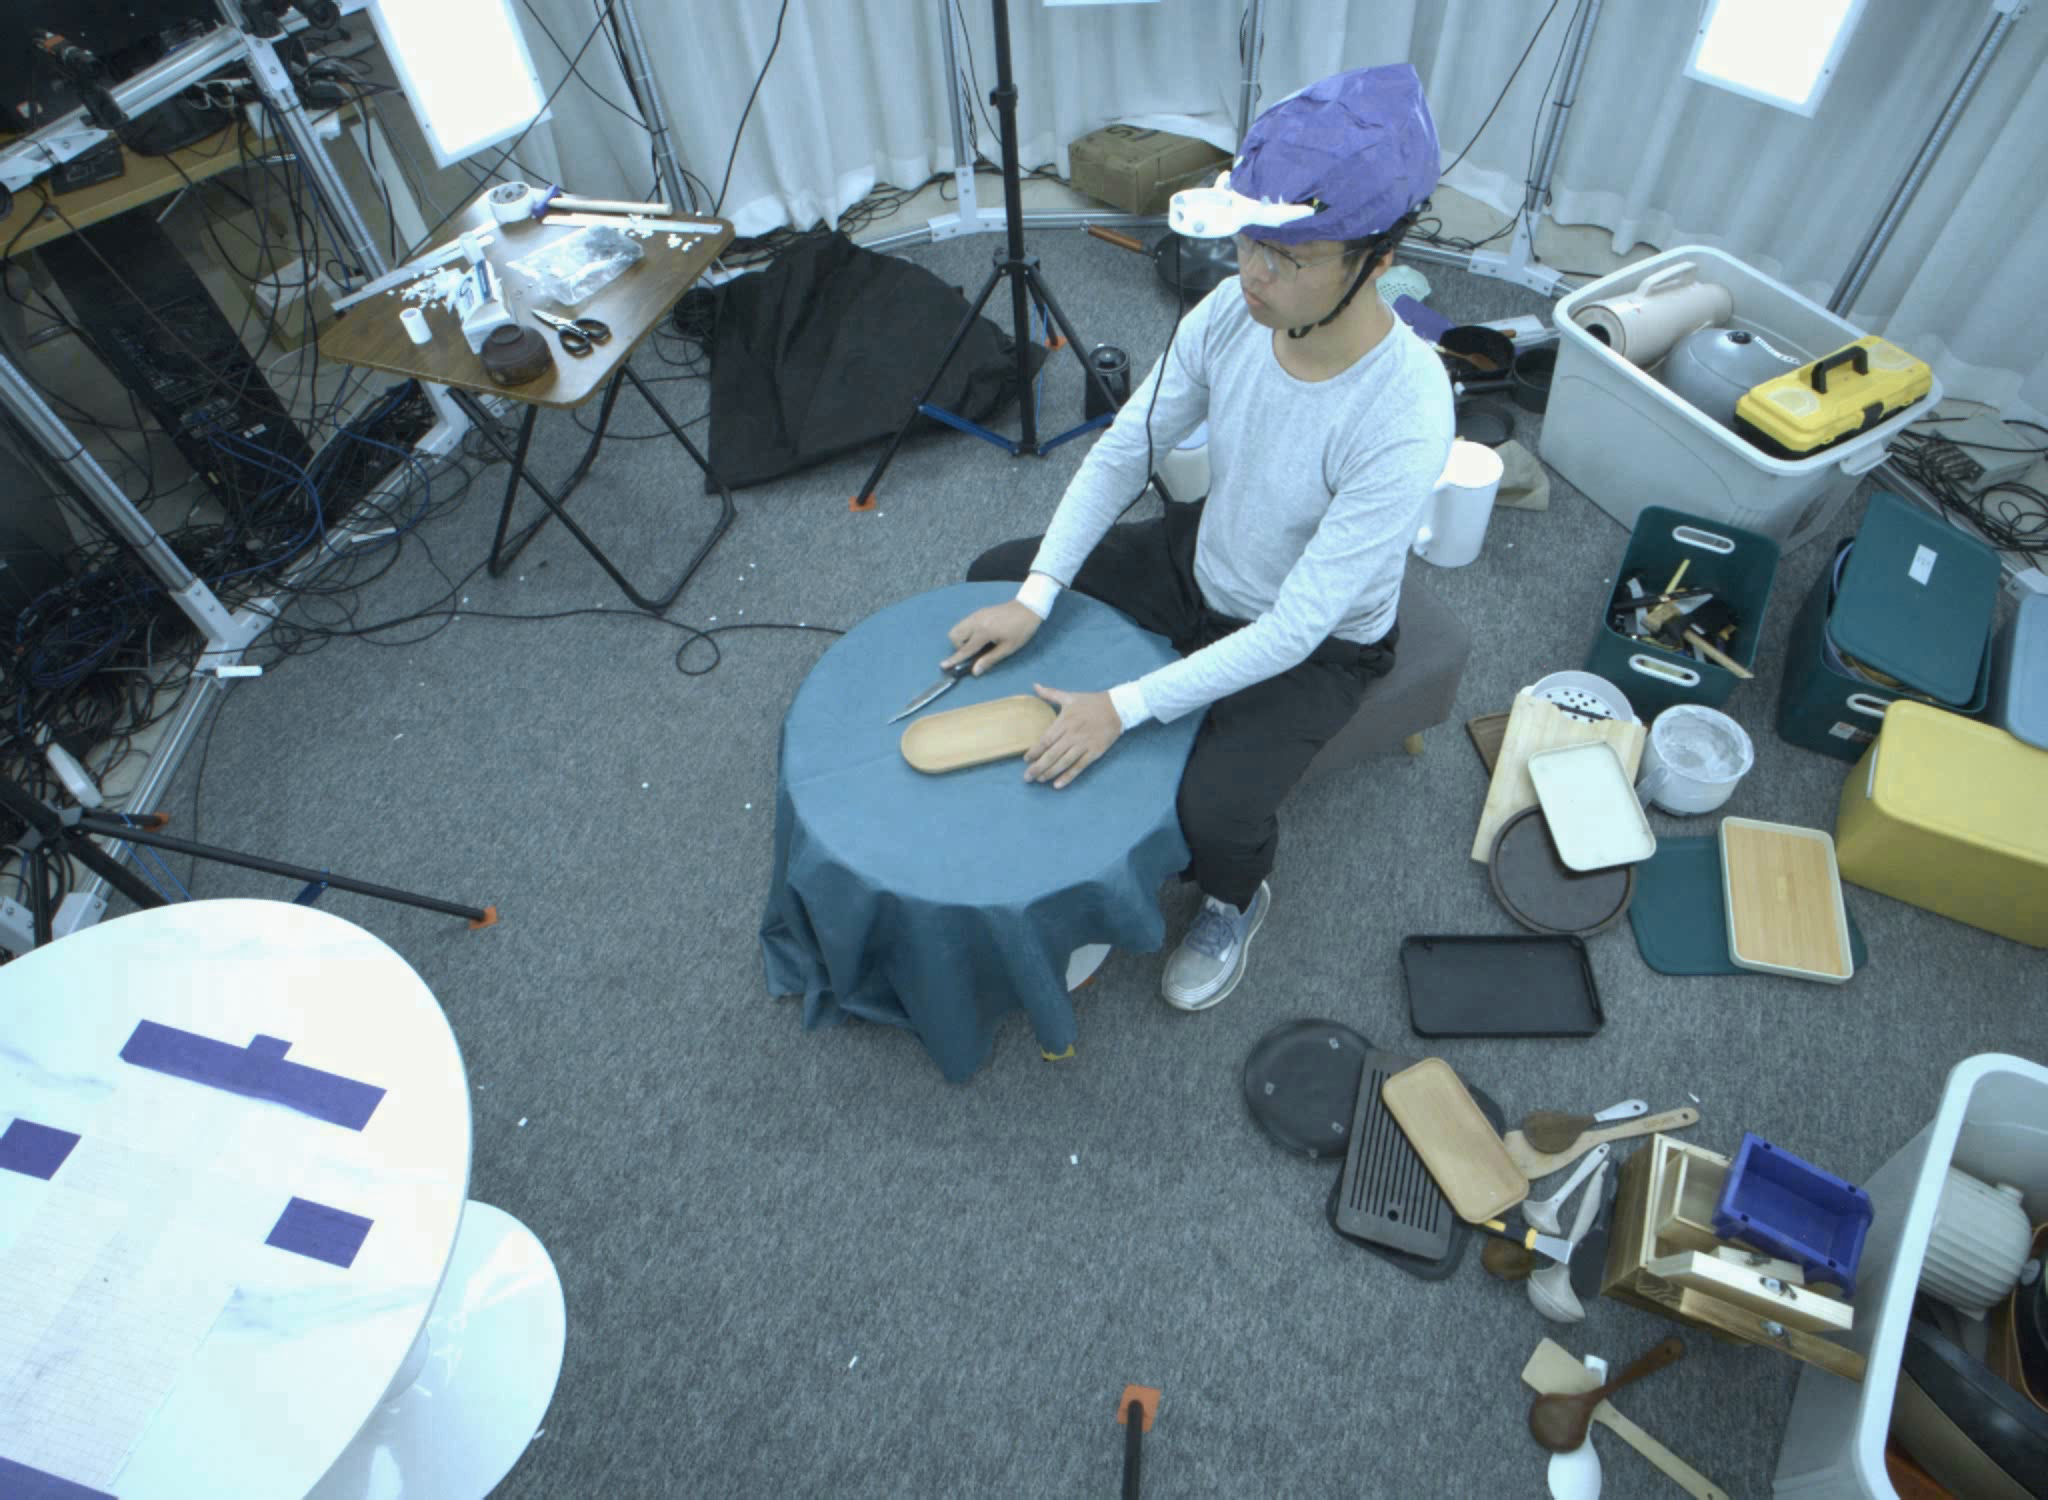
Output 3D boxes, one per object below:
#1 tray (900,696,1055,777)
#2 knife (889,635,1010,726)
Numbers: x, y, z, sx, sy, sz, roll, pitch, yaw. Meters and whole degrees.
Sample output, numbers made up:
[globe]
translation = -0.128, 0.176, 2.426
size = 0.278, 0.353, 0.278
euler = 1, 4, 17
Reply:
[tray]
translation = -0.068, -0.020, 1.802
size = 0.232, 0.020, 0.100
euler = -15, 54, -8
[knife]
translation = -0.116, -0.107, 1.867
size = 0.240, 0.016, 0.024
euler = -38, 55, -21
